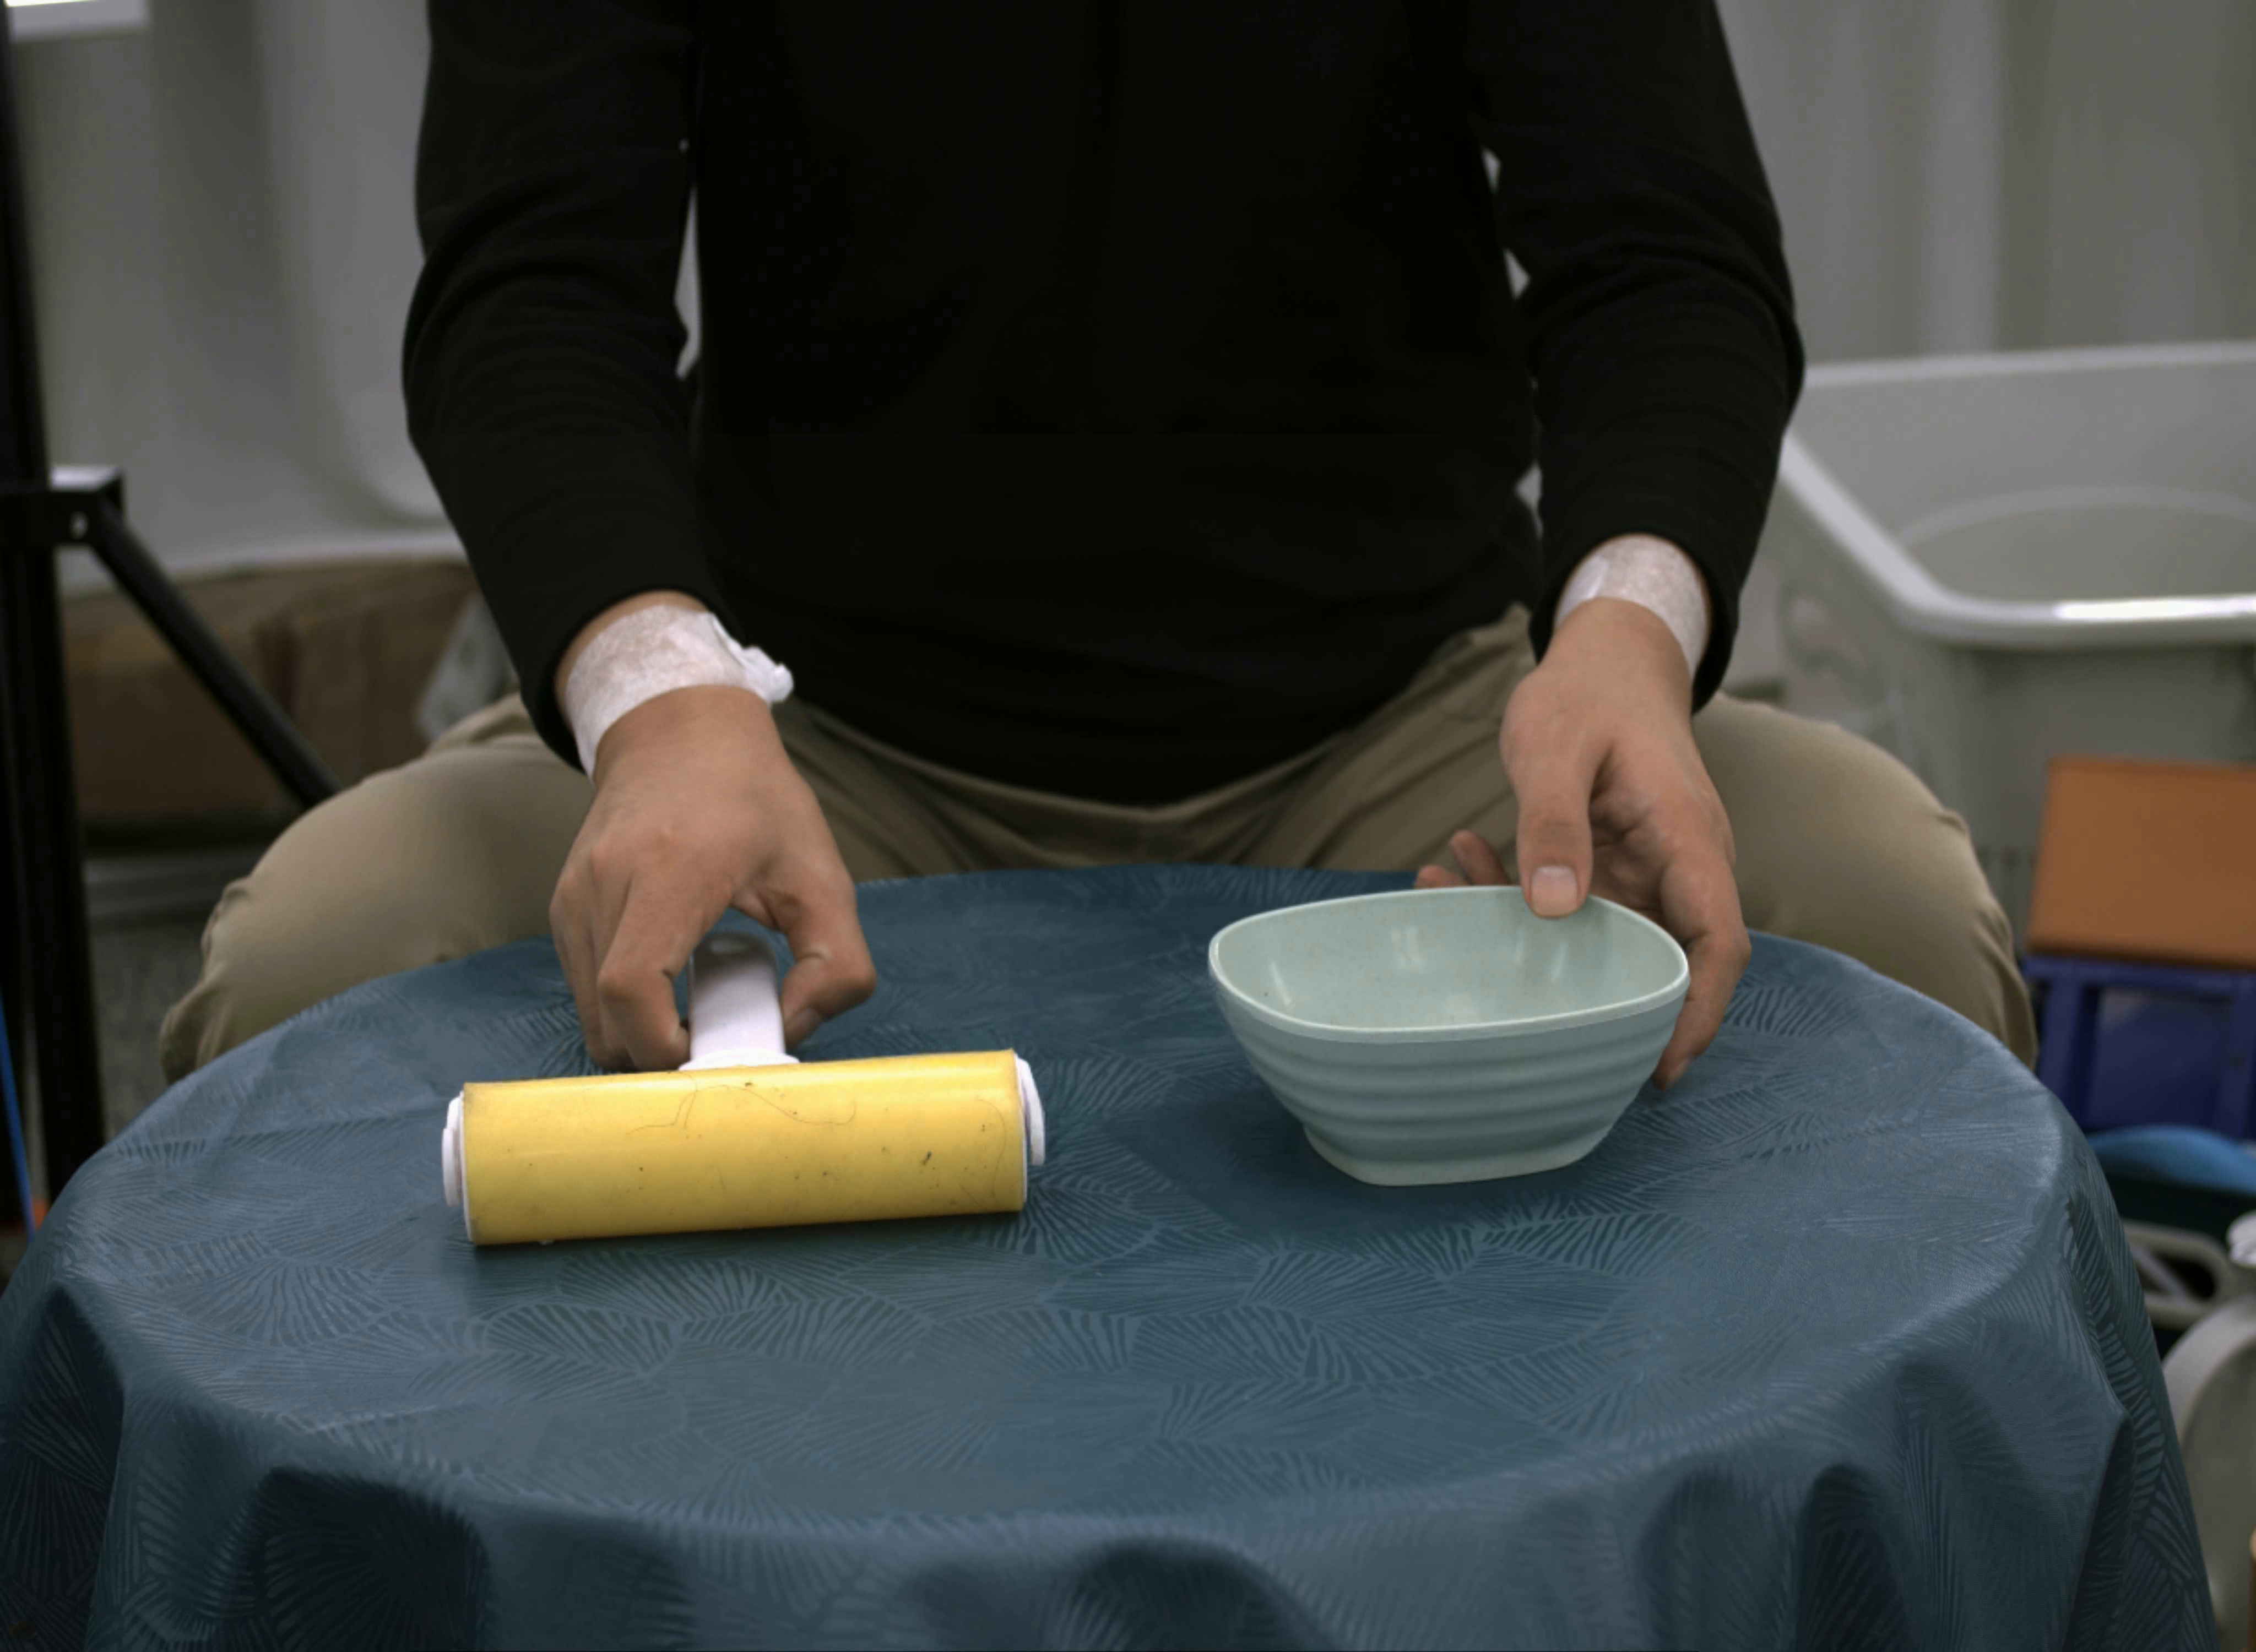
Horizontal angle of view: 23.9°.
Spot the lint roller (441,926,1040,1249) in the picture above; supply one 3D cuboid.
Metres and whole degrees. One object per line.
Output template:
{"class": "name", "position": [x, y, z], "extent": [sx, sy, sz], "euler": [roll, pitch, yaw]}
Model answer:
{"class": "lint roller", "position": [-0.121, 0.062, 1.606], "extent": [0.173, 0.051, 0.194], "euler": [-5, 28, -5]}

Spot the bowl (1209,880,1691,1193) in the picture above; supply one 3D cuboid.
{"class": "bowl", "position": [0.096, 0.066, 1.585], "extent": [0.151, 0.058, 0.152], "euler": [-3, 17, 0]}
